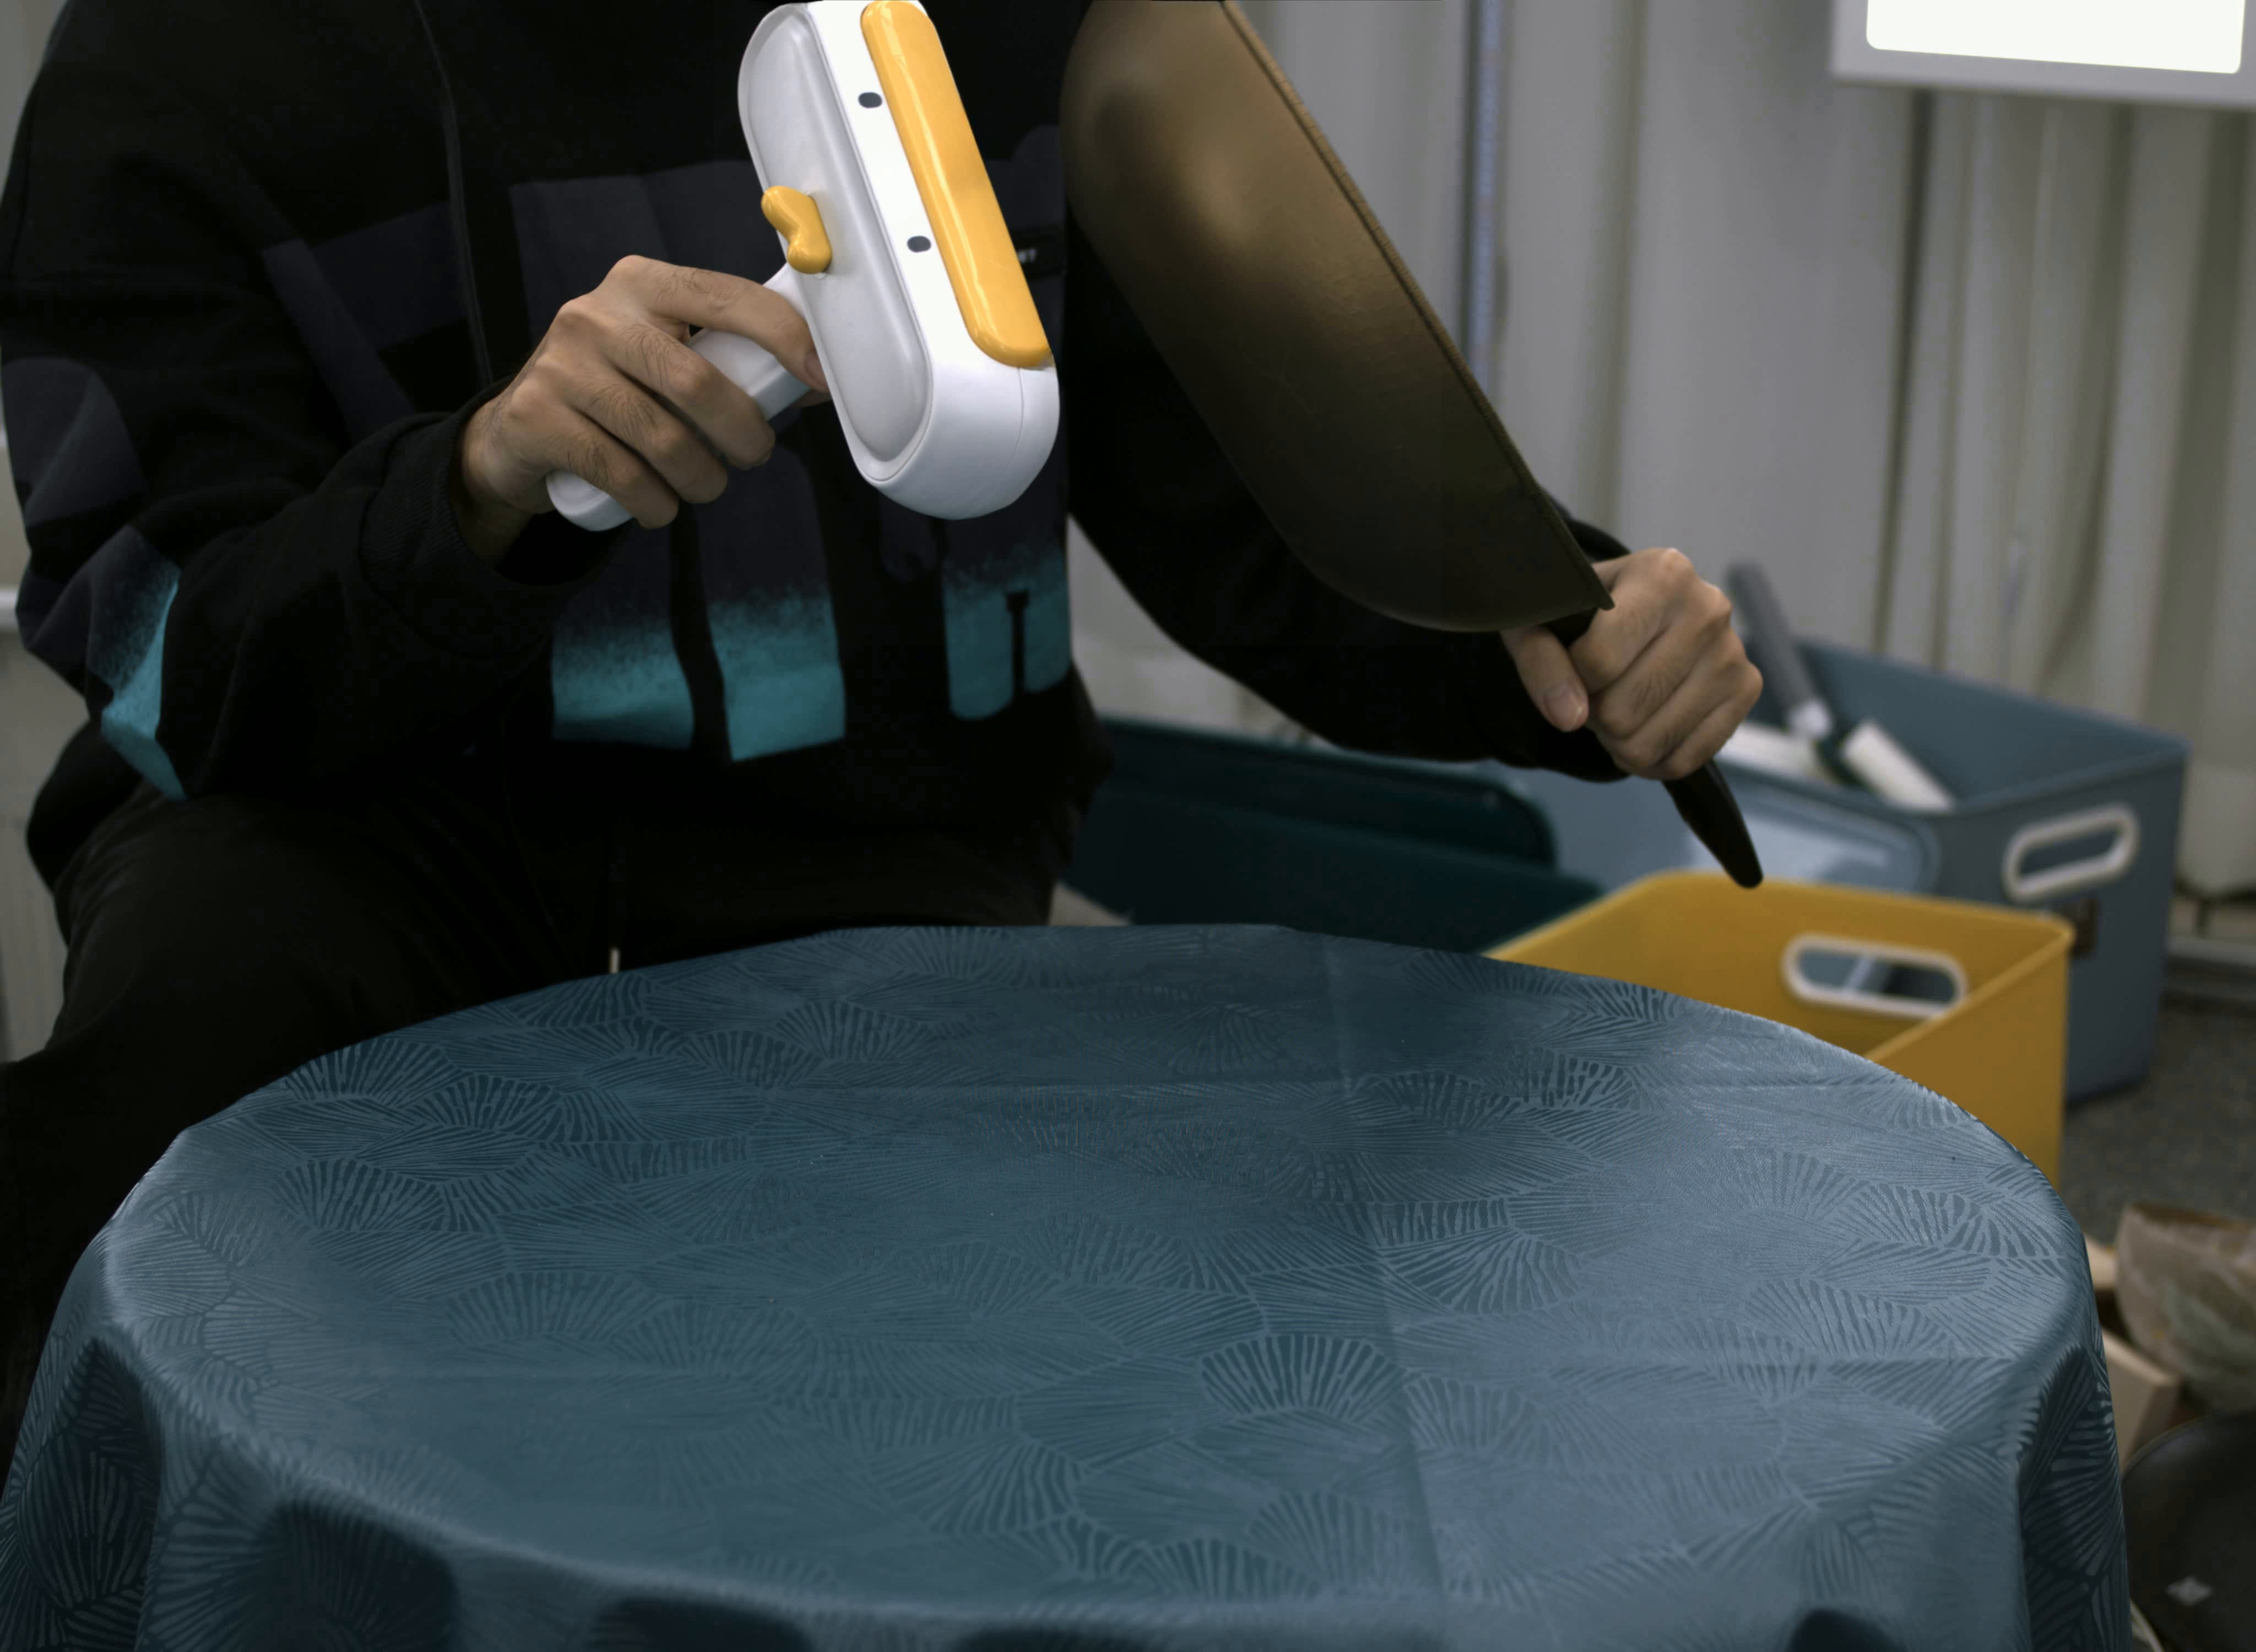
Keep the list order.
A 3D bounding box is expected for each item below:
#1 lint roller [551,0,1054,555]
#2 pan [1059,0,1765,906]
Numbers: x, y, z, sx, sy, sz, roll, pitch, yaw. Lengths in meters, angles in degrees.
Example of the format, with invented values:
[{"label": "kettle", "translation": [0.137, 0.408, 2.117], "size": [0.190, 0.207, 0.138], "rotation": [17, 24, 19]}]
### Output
[{"label": "lint roller", "translation": [-0.115, -0.157, 1.692], "size": [0.075, 0.192, 0.191], "rotation": [1, 53, -44]}, {"label": "pan", "translation": [0.097, -0.112, 1.827], "size": [0.087, 0.470, 0.284], "rotation": [-33, 39, 3]}]
